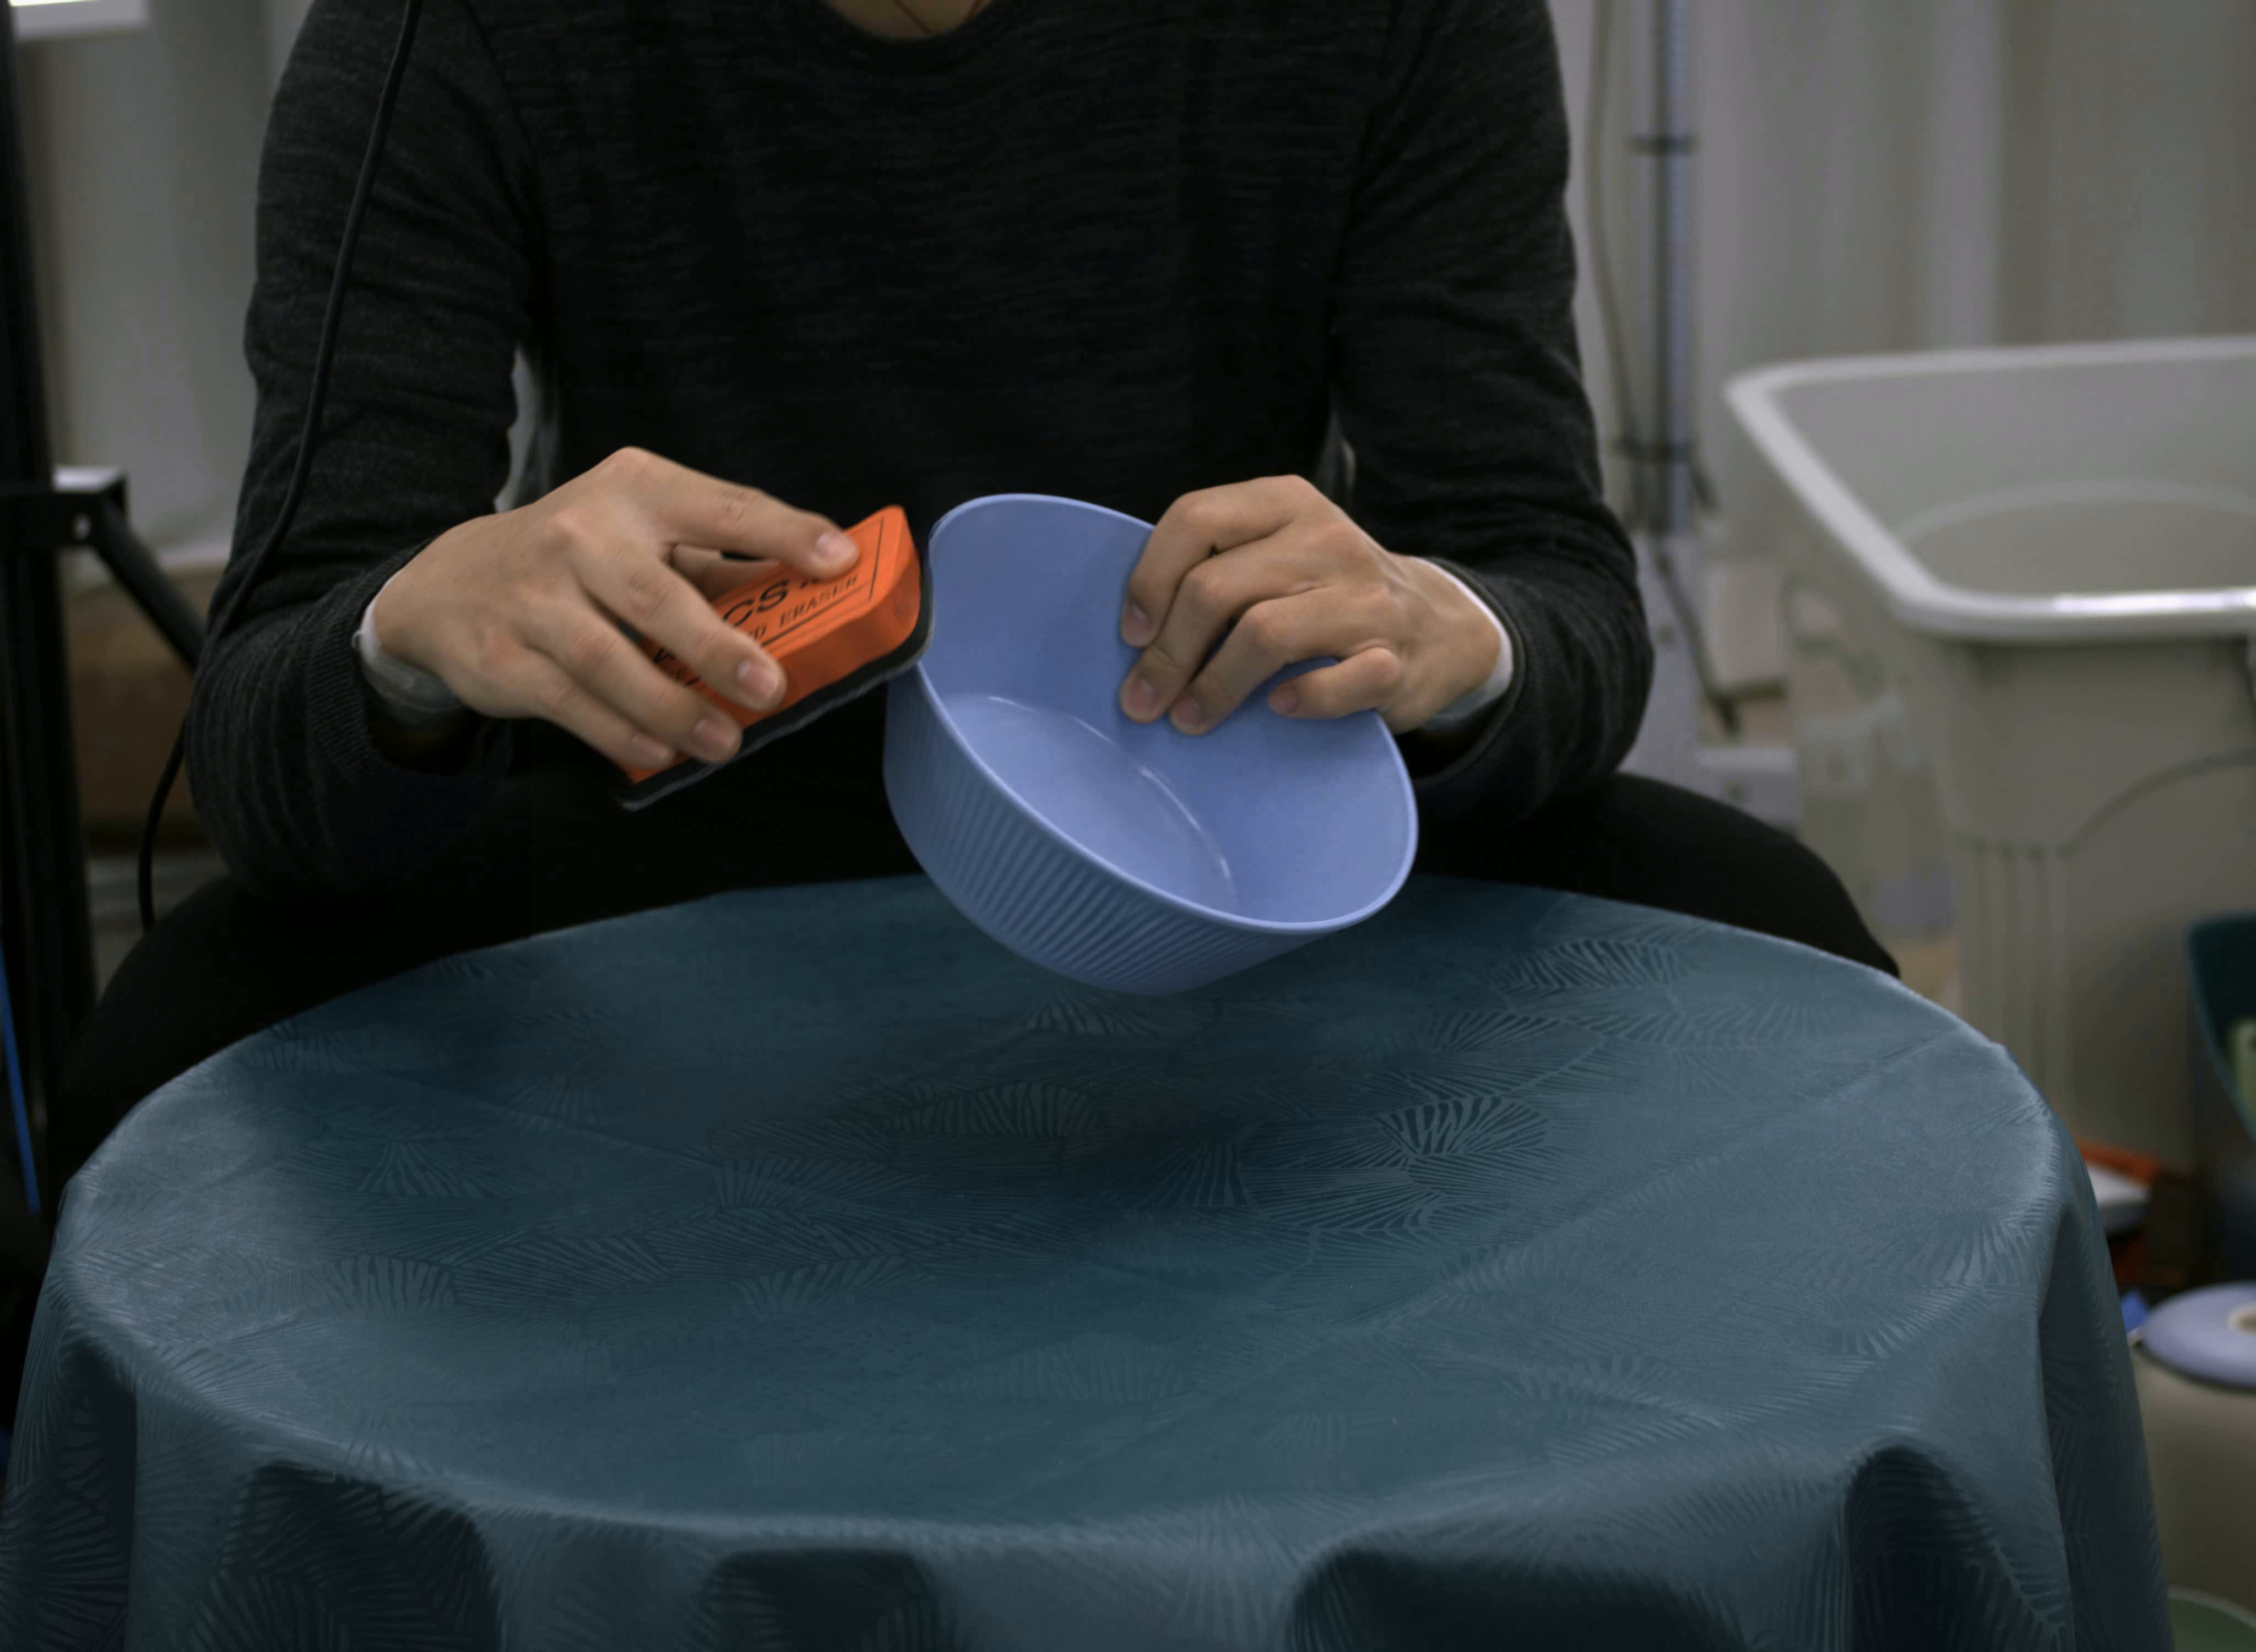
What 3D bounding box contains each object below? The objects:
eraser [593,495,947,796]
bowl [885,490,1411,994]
[{"bbox_3d":[-0.102,-0.051,1.532,0.109,0.022,0.059,-28,29,21],"label":"eraser"},{"bbox_3d":[-0.006,-0.014,1.584,0.173,0.071,0.178,22,36,-19],"label":"bowl"}]
